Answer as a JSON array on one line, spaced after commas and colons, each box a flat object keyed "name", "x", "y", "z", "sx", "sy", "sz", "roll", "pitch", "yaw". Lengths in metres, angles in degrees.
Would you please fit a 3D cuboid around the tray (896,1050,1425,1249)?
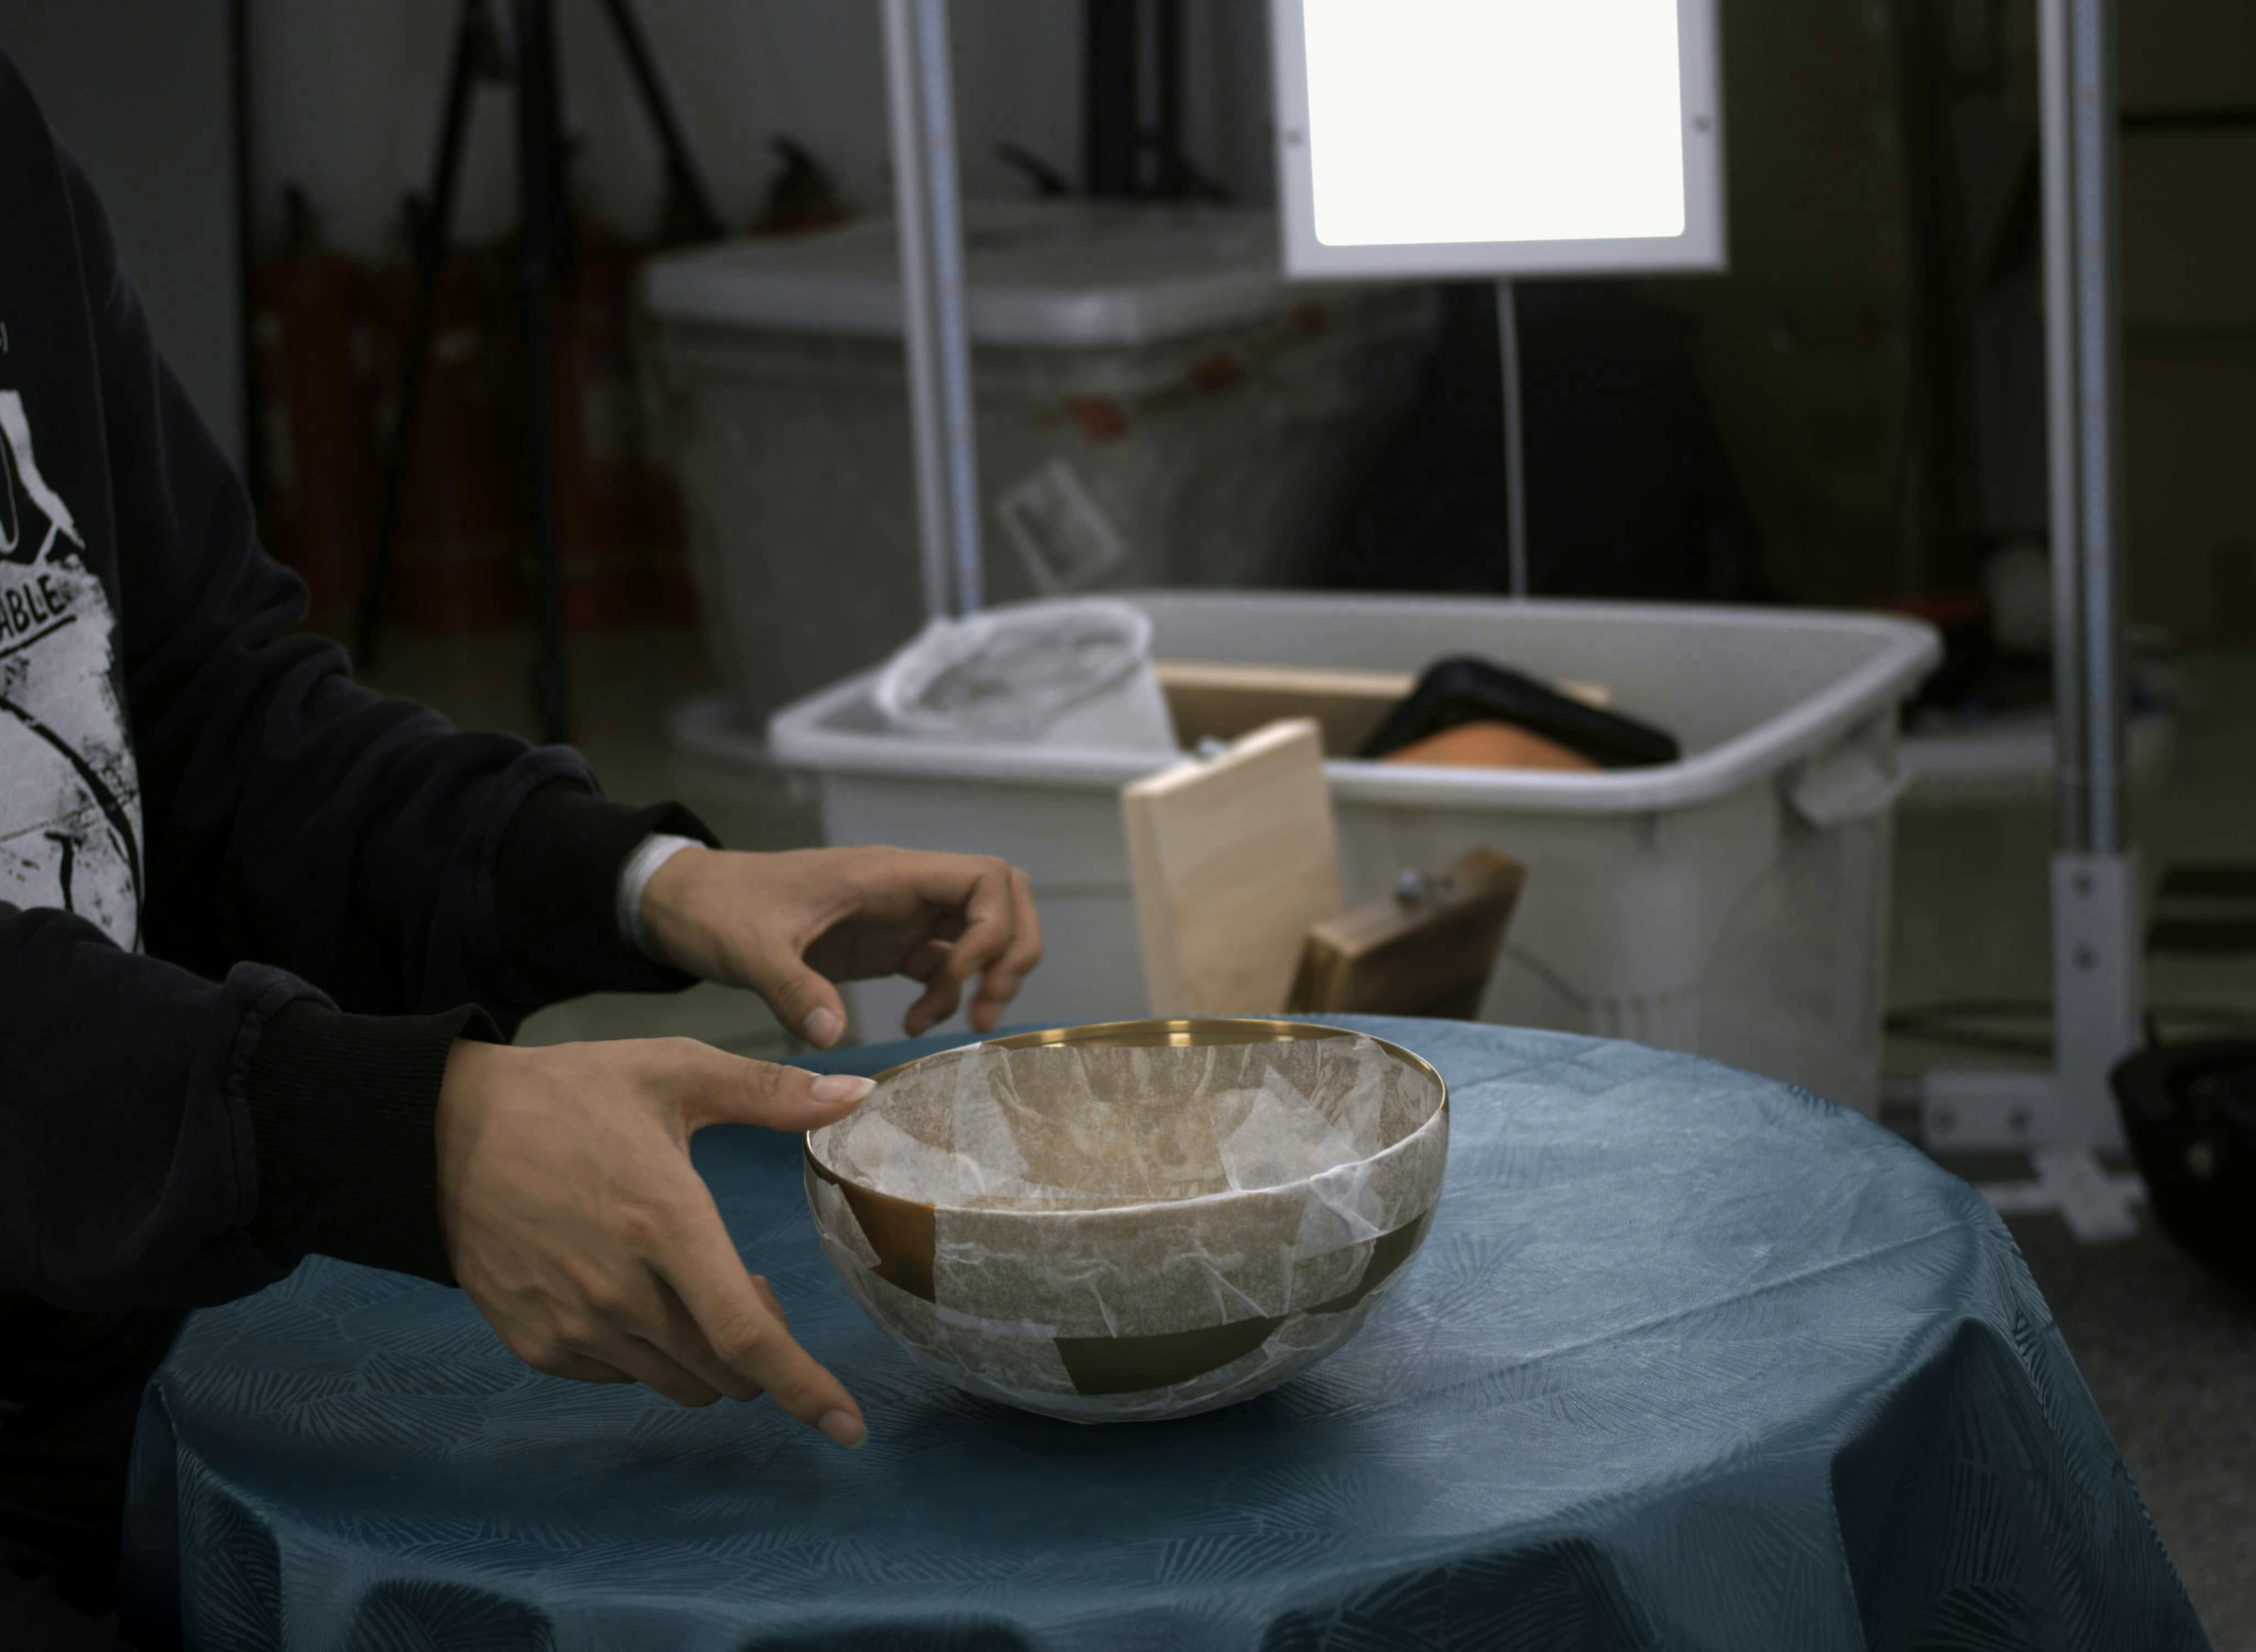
[{"name": "tray", "x": 0.009, "y": 0.112, "z": 1.923, "sx": 0.099, "sy": 0.020, "sz": 0.236, "roll": -18, "pitch": 21, "yaw": -36}]

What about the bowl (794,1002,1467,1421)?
[{"name": "bowl", "x": 0.004, "y": 0.126, "z": 1.697, "sx": 0.214, "sy": 0.095, "sz": 0.214, "roll": -6, "pitch": 15, "yaw": 0}]
